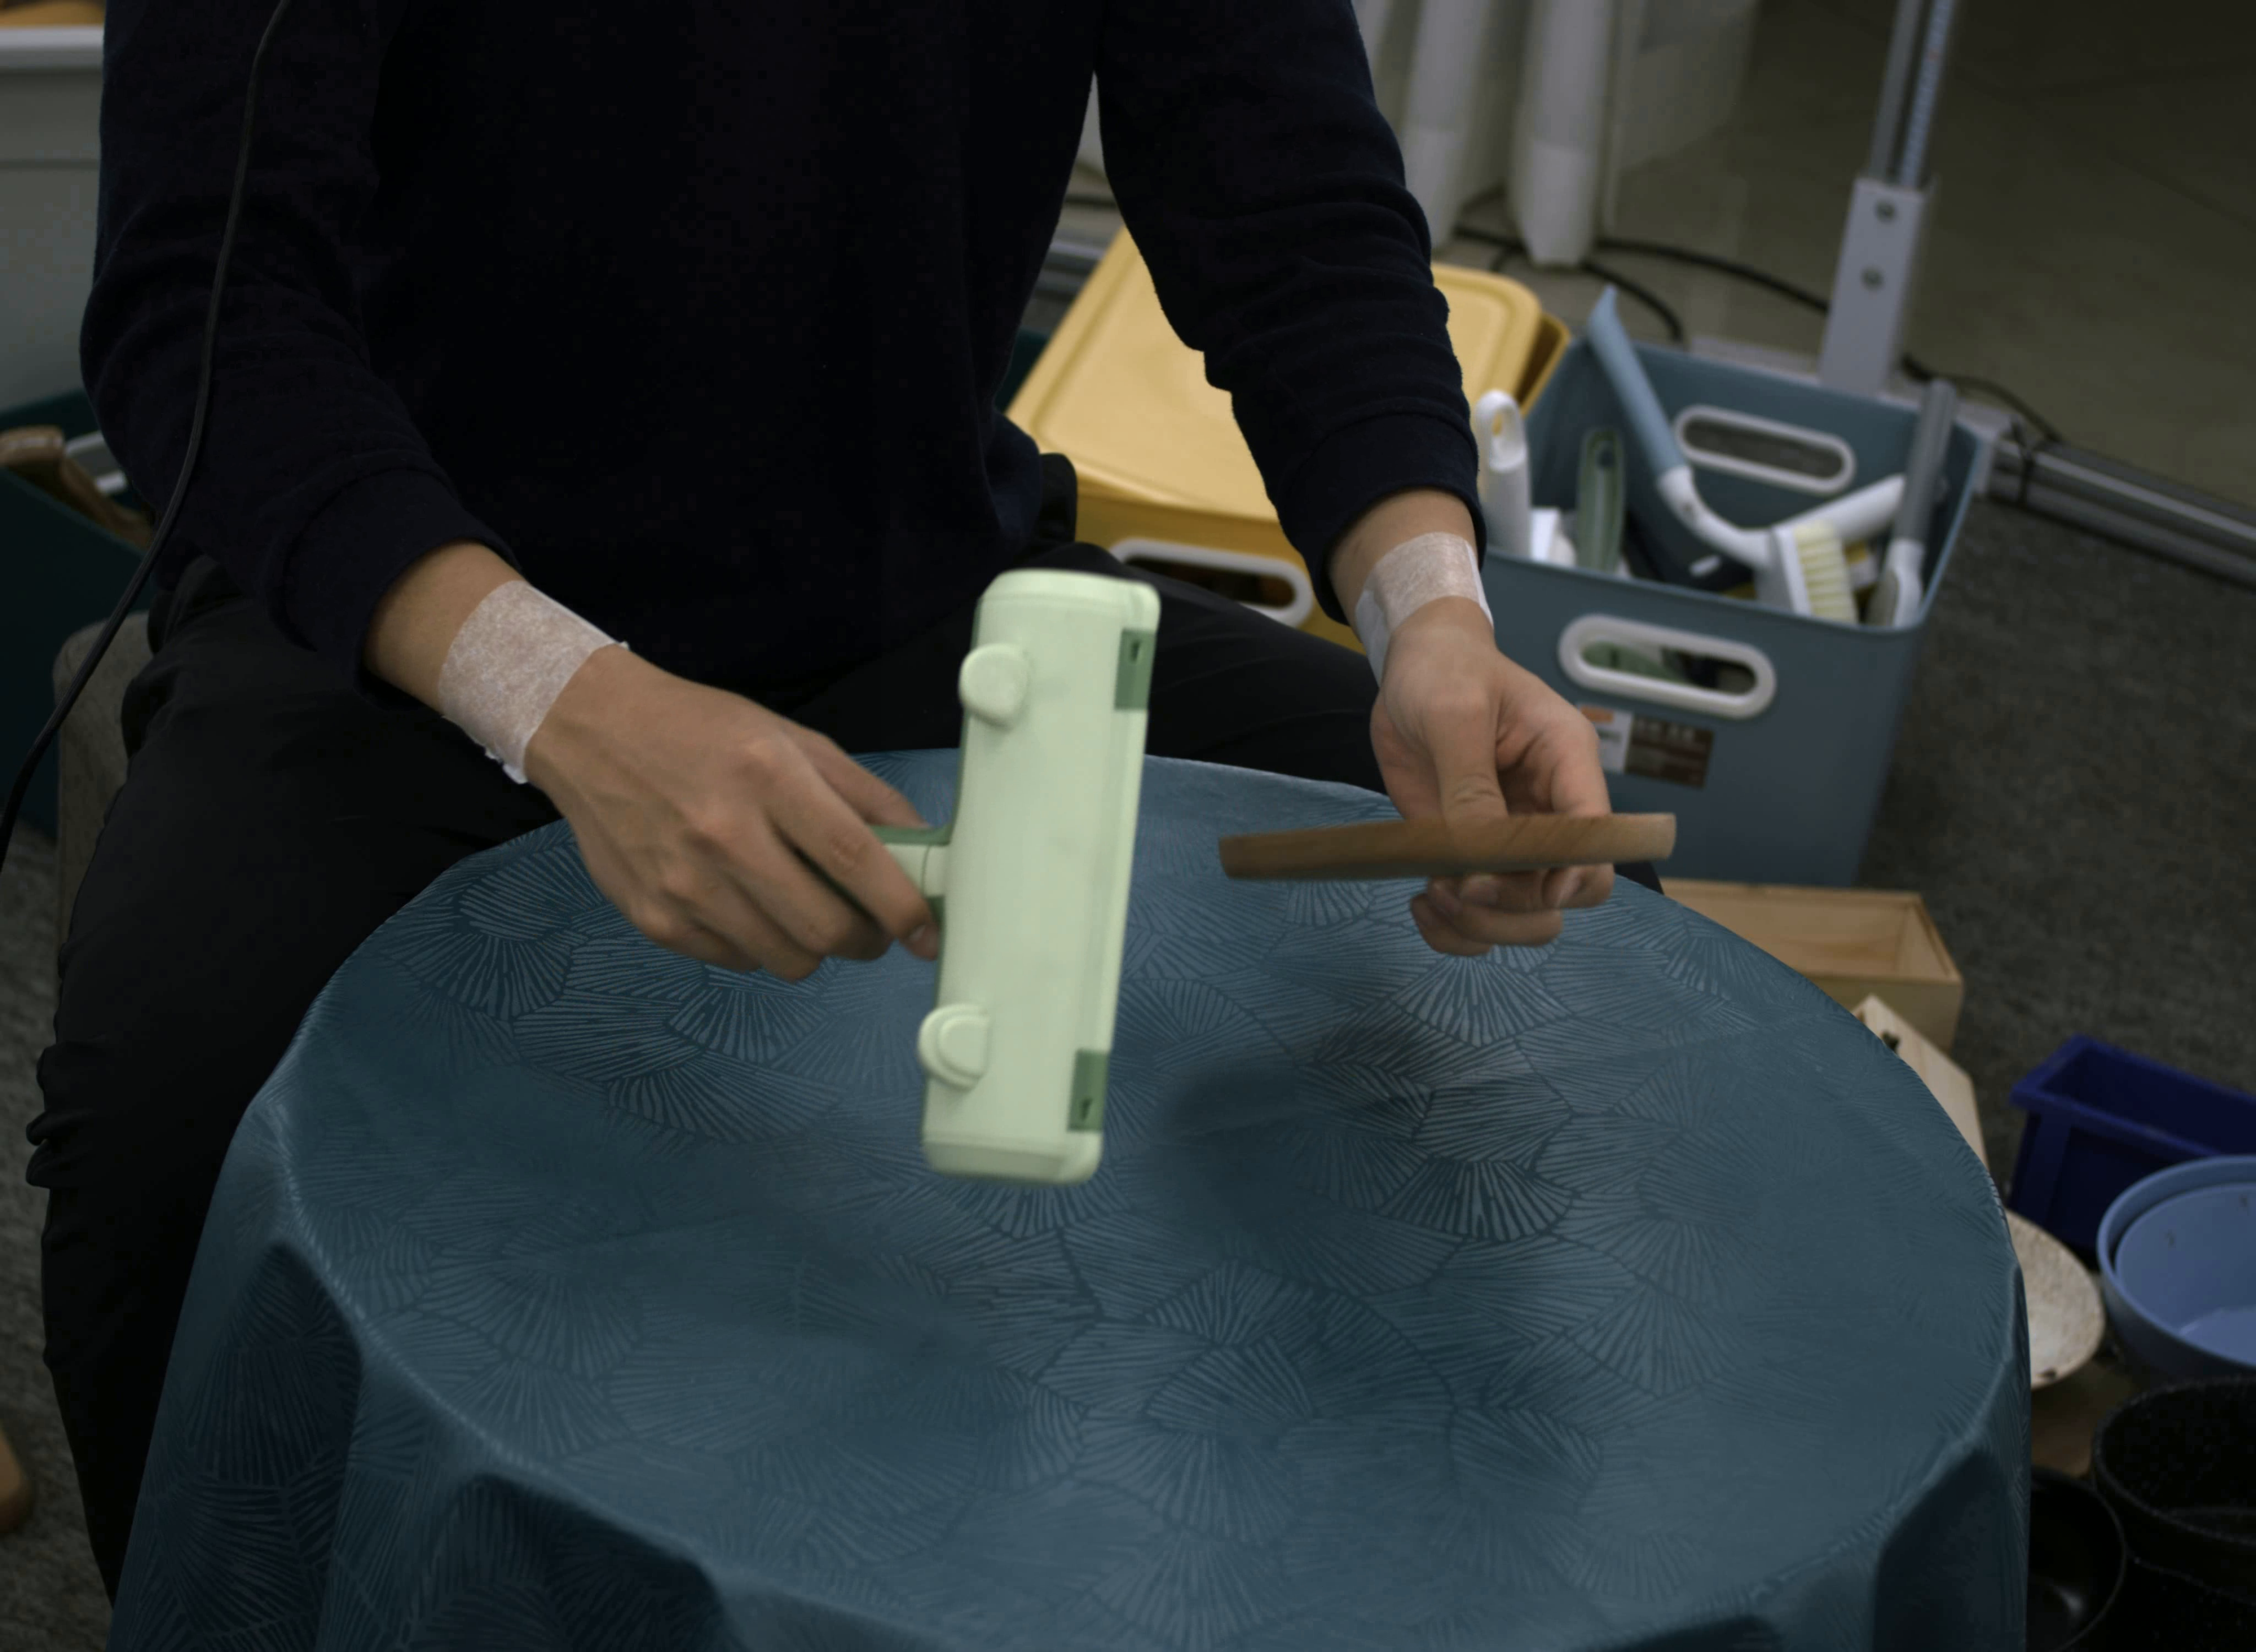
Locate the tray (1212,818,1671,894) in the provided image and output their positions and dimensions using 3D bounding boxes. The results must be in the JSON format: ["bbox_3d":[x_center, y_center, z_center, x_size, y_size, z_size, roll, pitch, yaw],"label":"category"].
[{"bbox_3d":[0.104,0.011,1.801,0.101,0.020,0.232,0,-4,-21],"label":"tray"}]

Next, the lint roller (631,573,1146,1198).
[{"bbox_3d":[-0.089,0.014,1.716,0.183,0.199,0.081,3,-9,20],"label":"lint roller"}]
